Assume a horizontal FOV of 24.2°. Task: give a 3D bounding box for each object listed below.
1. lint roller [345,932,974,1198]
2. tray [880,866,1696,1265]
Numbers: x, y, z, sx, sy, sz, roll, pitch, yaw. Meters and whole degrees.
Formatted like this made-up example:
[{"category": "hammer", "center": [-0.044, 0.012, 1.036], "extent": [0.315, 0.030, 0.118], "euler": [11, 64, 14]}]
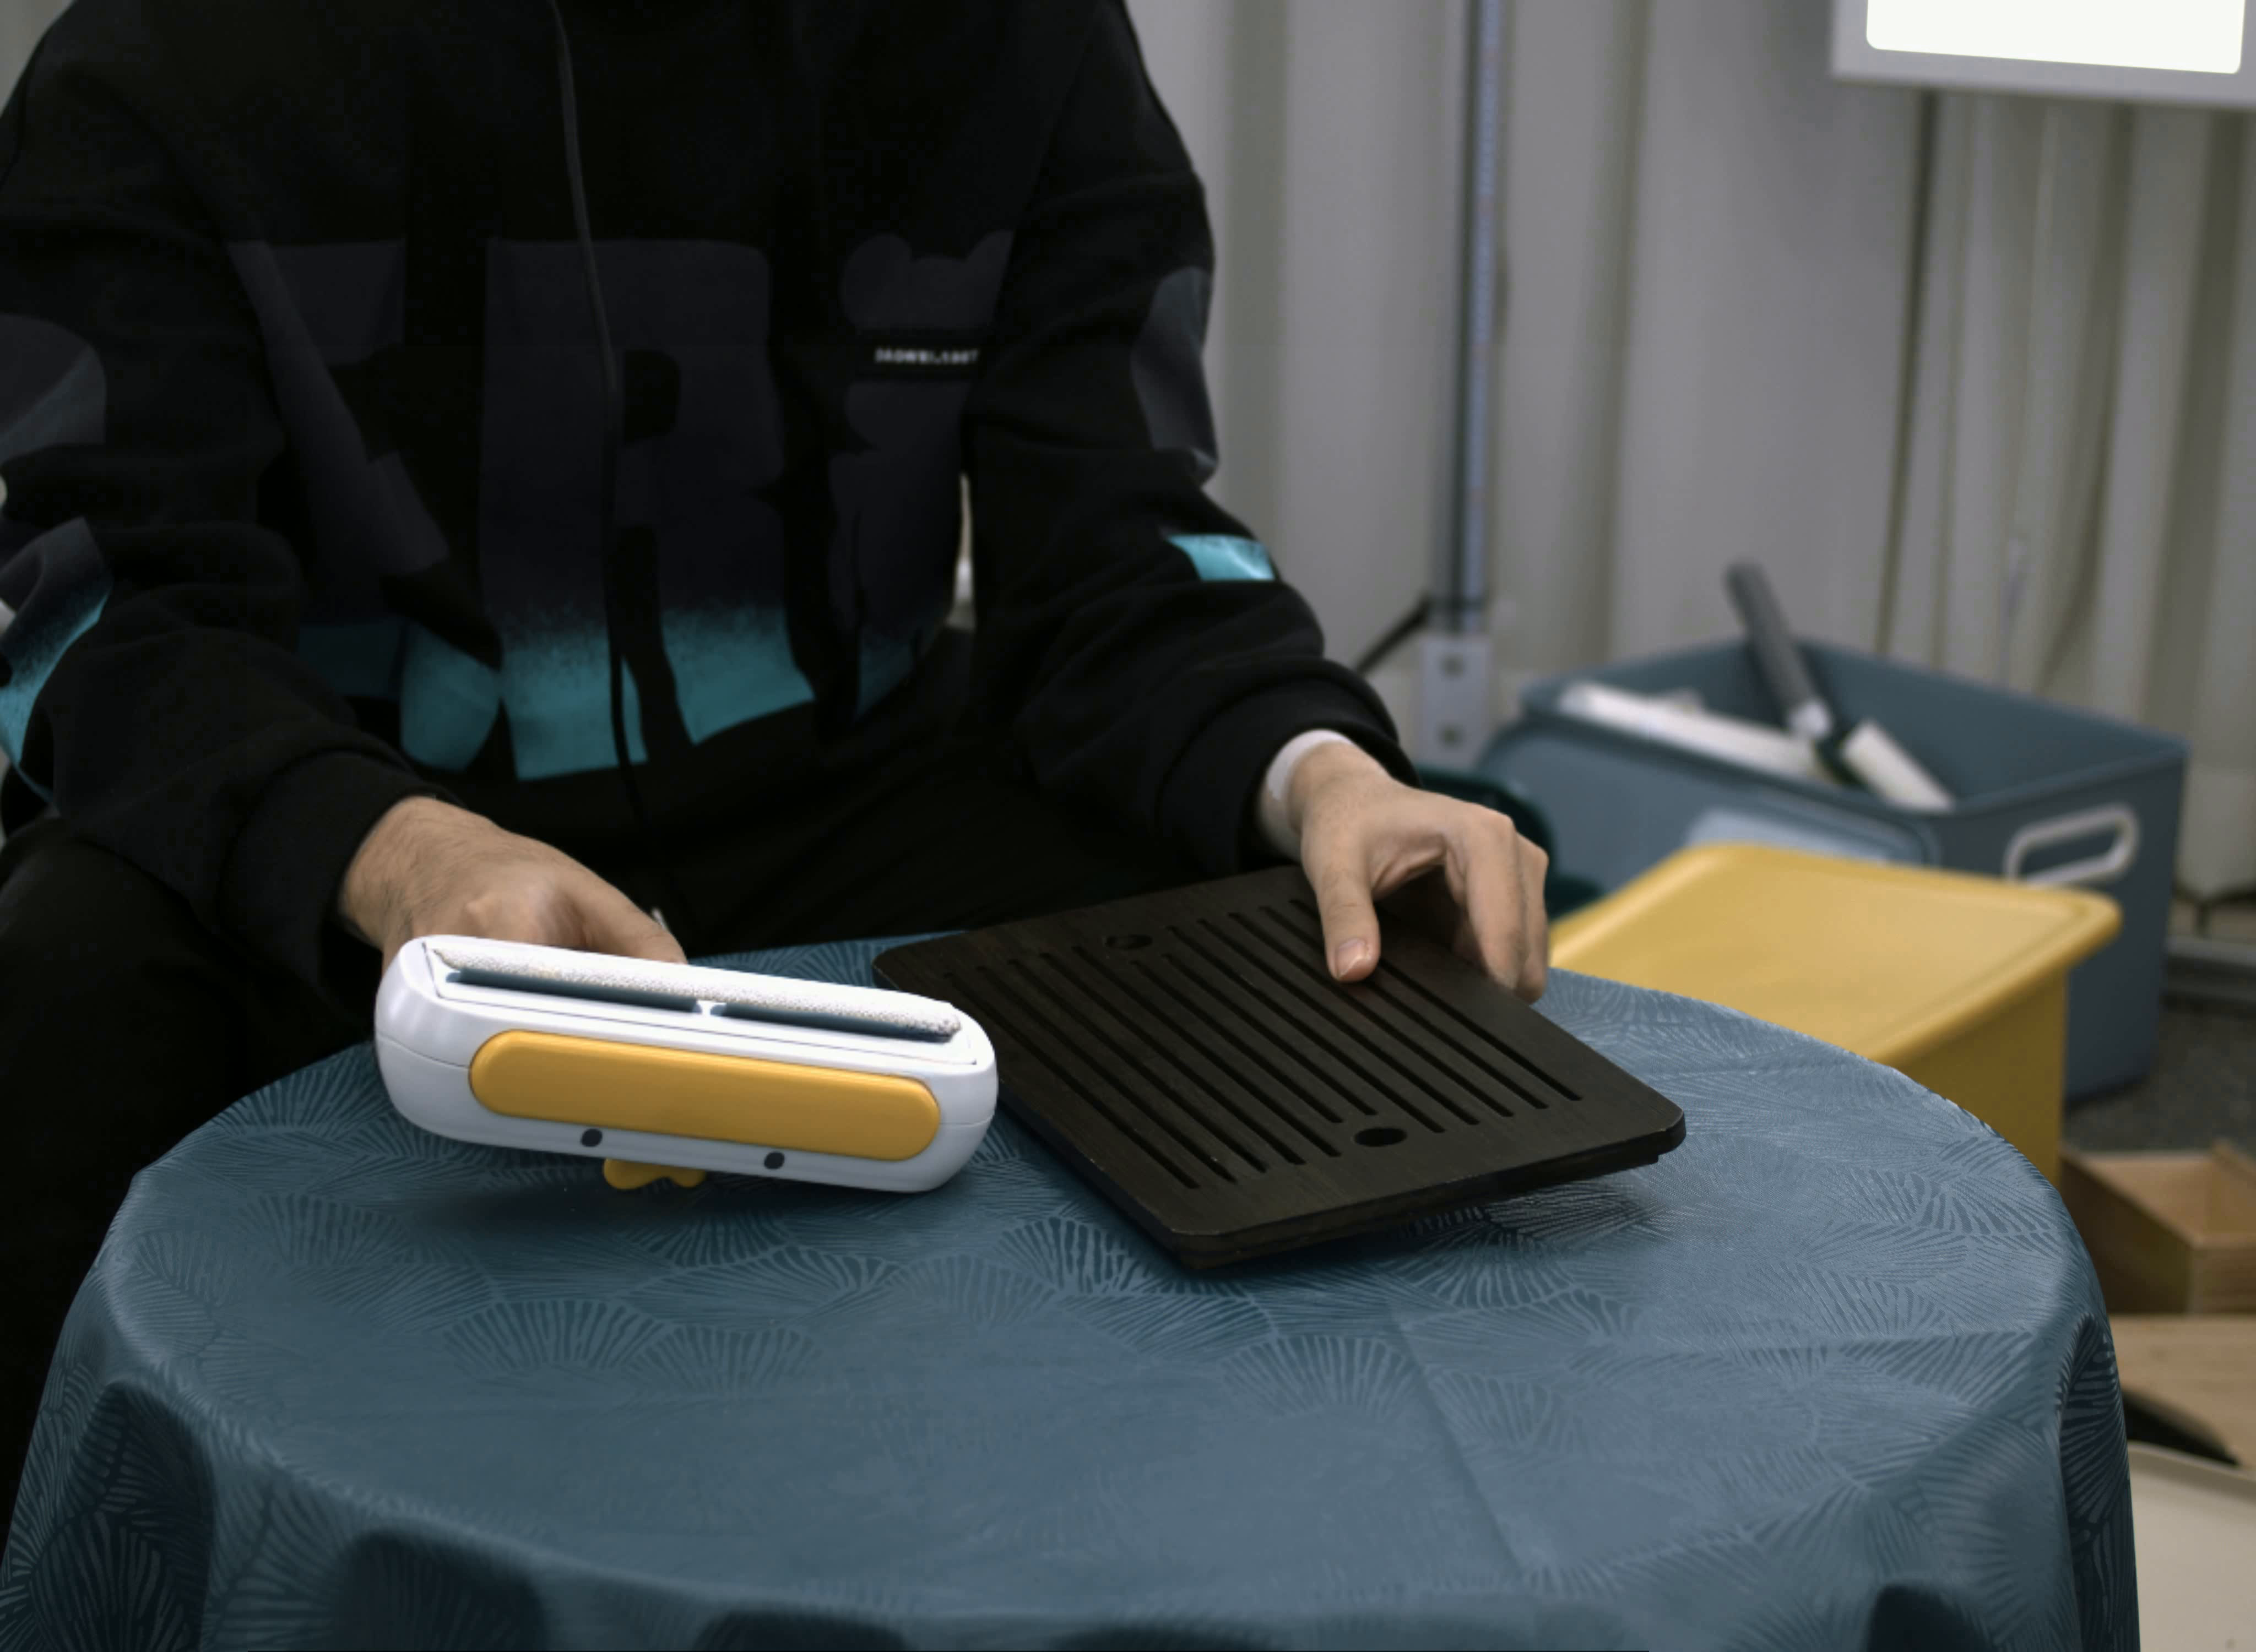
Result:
[{"category": "lint roller", "center": [-0.154, 0.065, 1.657], "extent": [0.193, 0.074, 0.191], "euler": [4, 13, -14]}, {"category": "tray", "center": [0.044, 0.073, 1.699], "extent": [0.170, 0.019, 0.302], "euler": [-12, 18, -19]}]
